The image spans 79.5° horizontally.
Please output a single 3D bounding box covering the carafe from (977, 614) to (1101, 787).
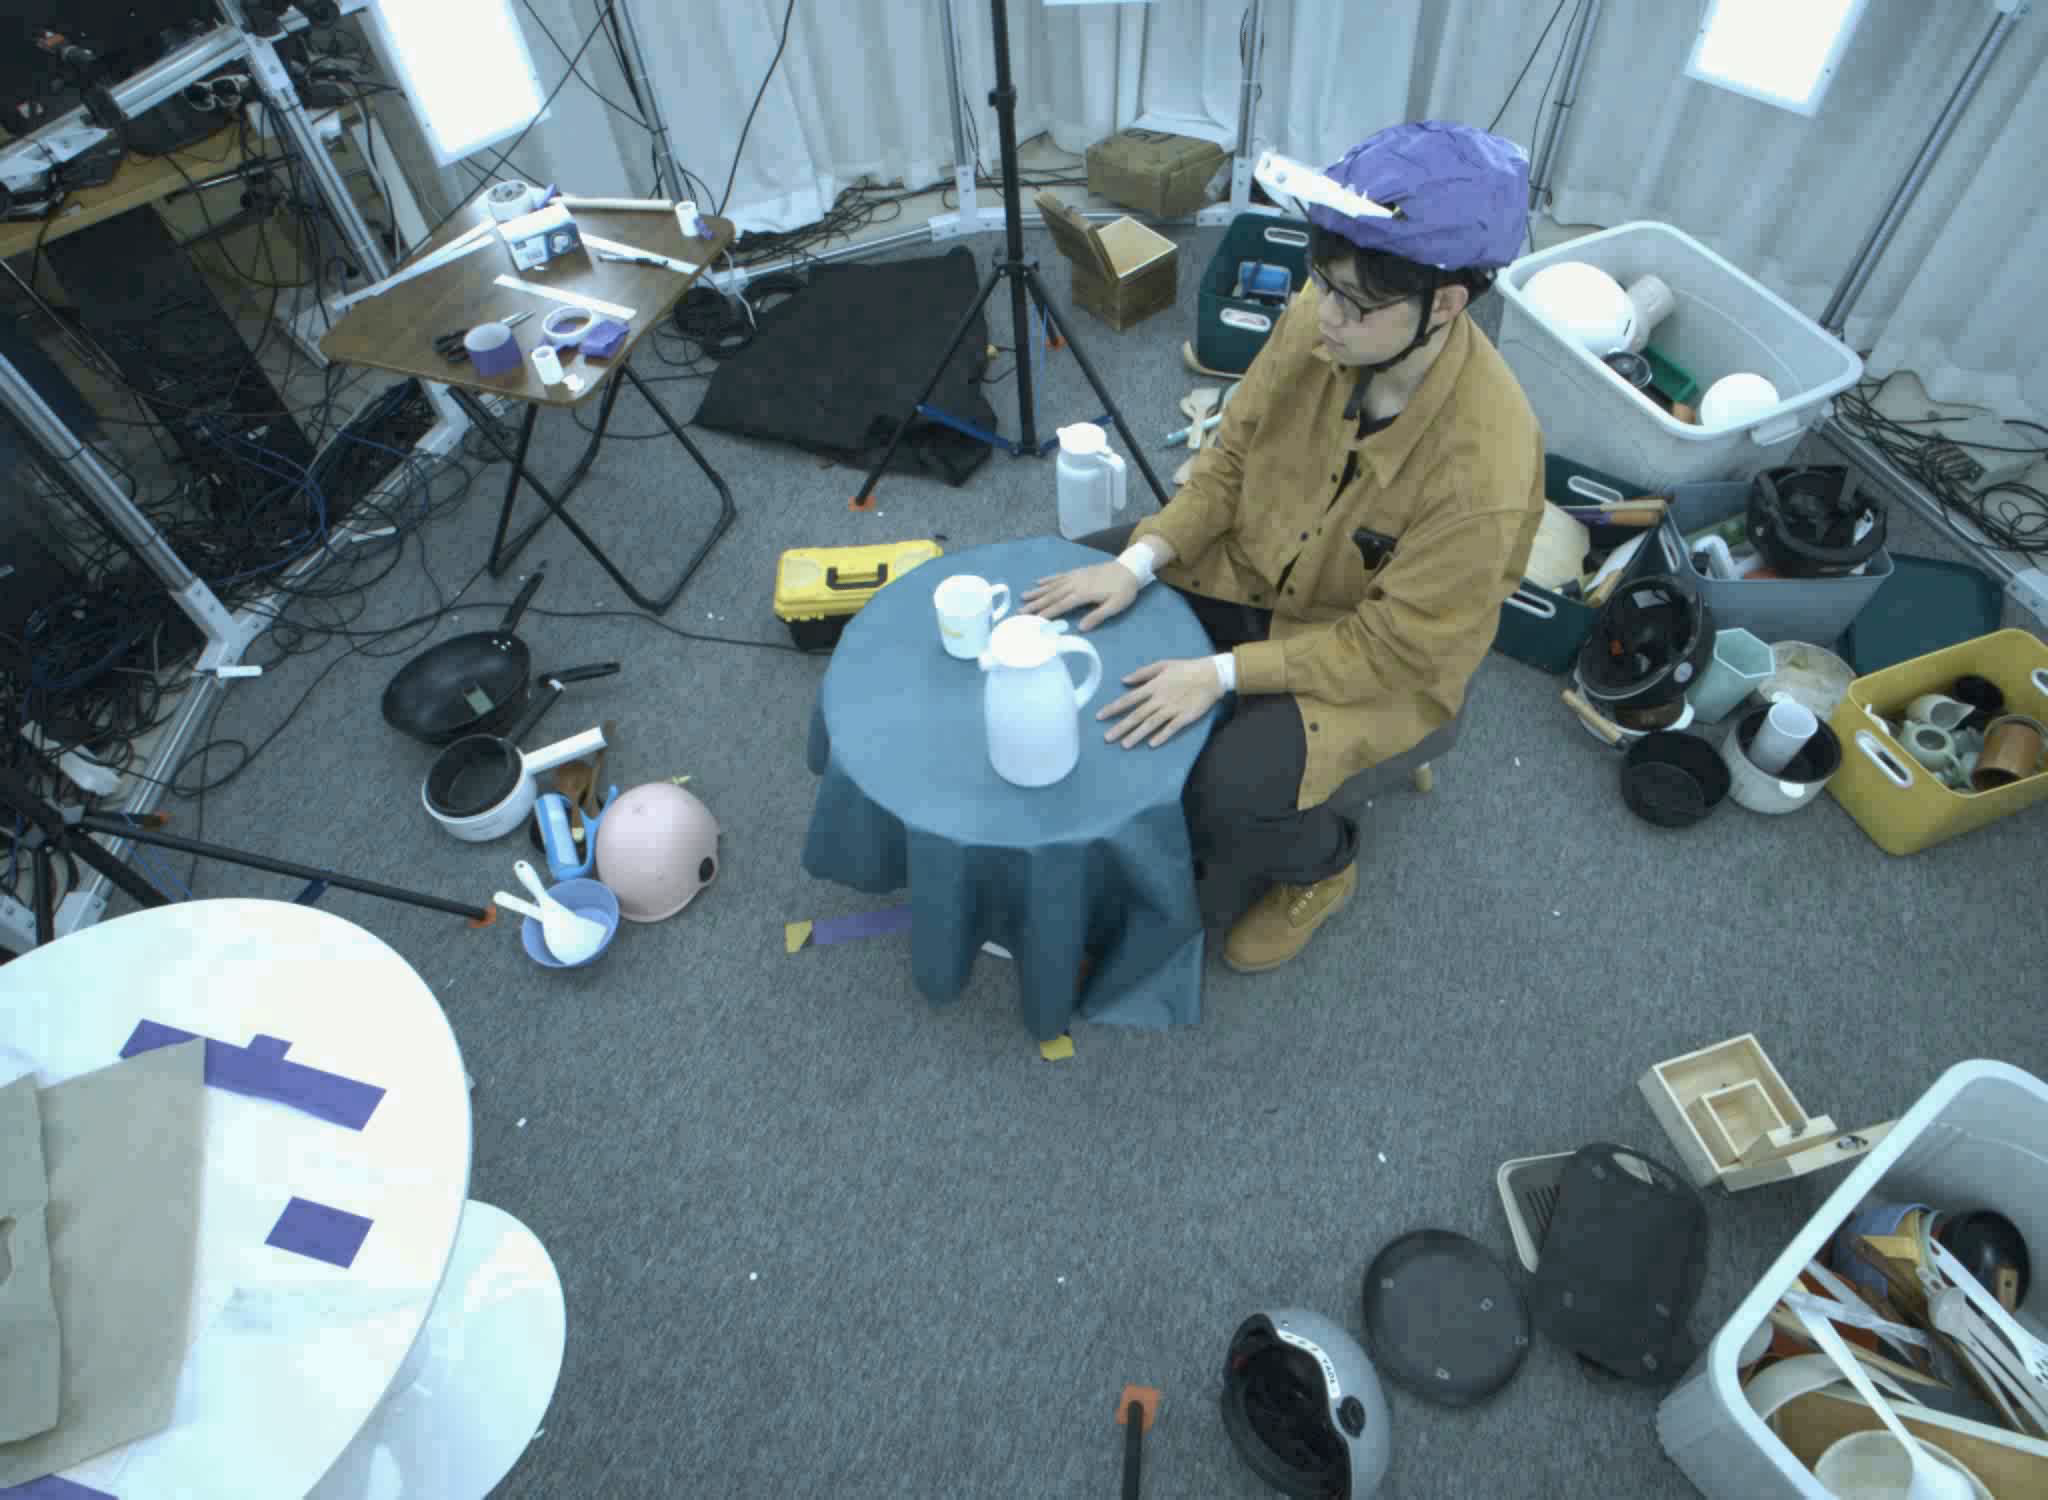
[{"bbox_3d":[0.024,-0.080,1.686,0.169,0.251,0.130,-18,54,-10],"label":"carafe"}]

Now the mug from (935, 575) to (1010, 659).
[{"bbox_3d":[-0.076,-0.208,1.872,0.119,0.103,0.083,-28,59,-17],"label":"mug"}]
